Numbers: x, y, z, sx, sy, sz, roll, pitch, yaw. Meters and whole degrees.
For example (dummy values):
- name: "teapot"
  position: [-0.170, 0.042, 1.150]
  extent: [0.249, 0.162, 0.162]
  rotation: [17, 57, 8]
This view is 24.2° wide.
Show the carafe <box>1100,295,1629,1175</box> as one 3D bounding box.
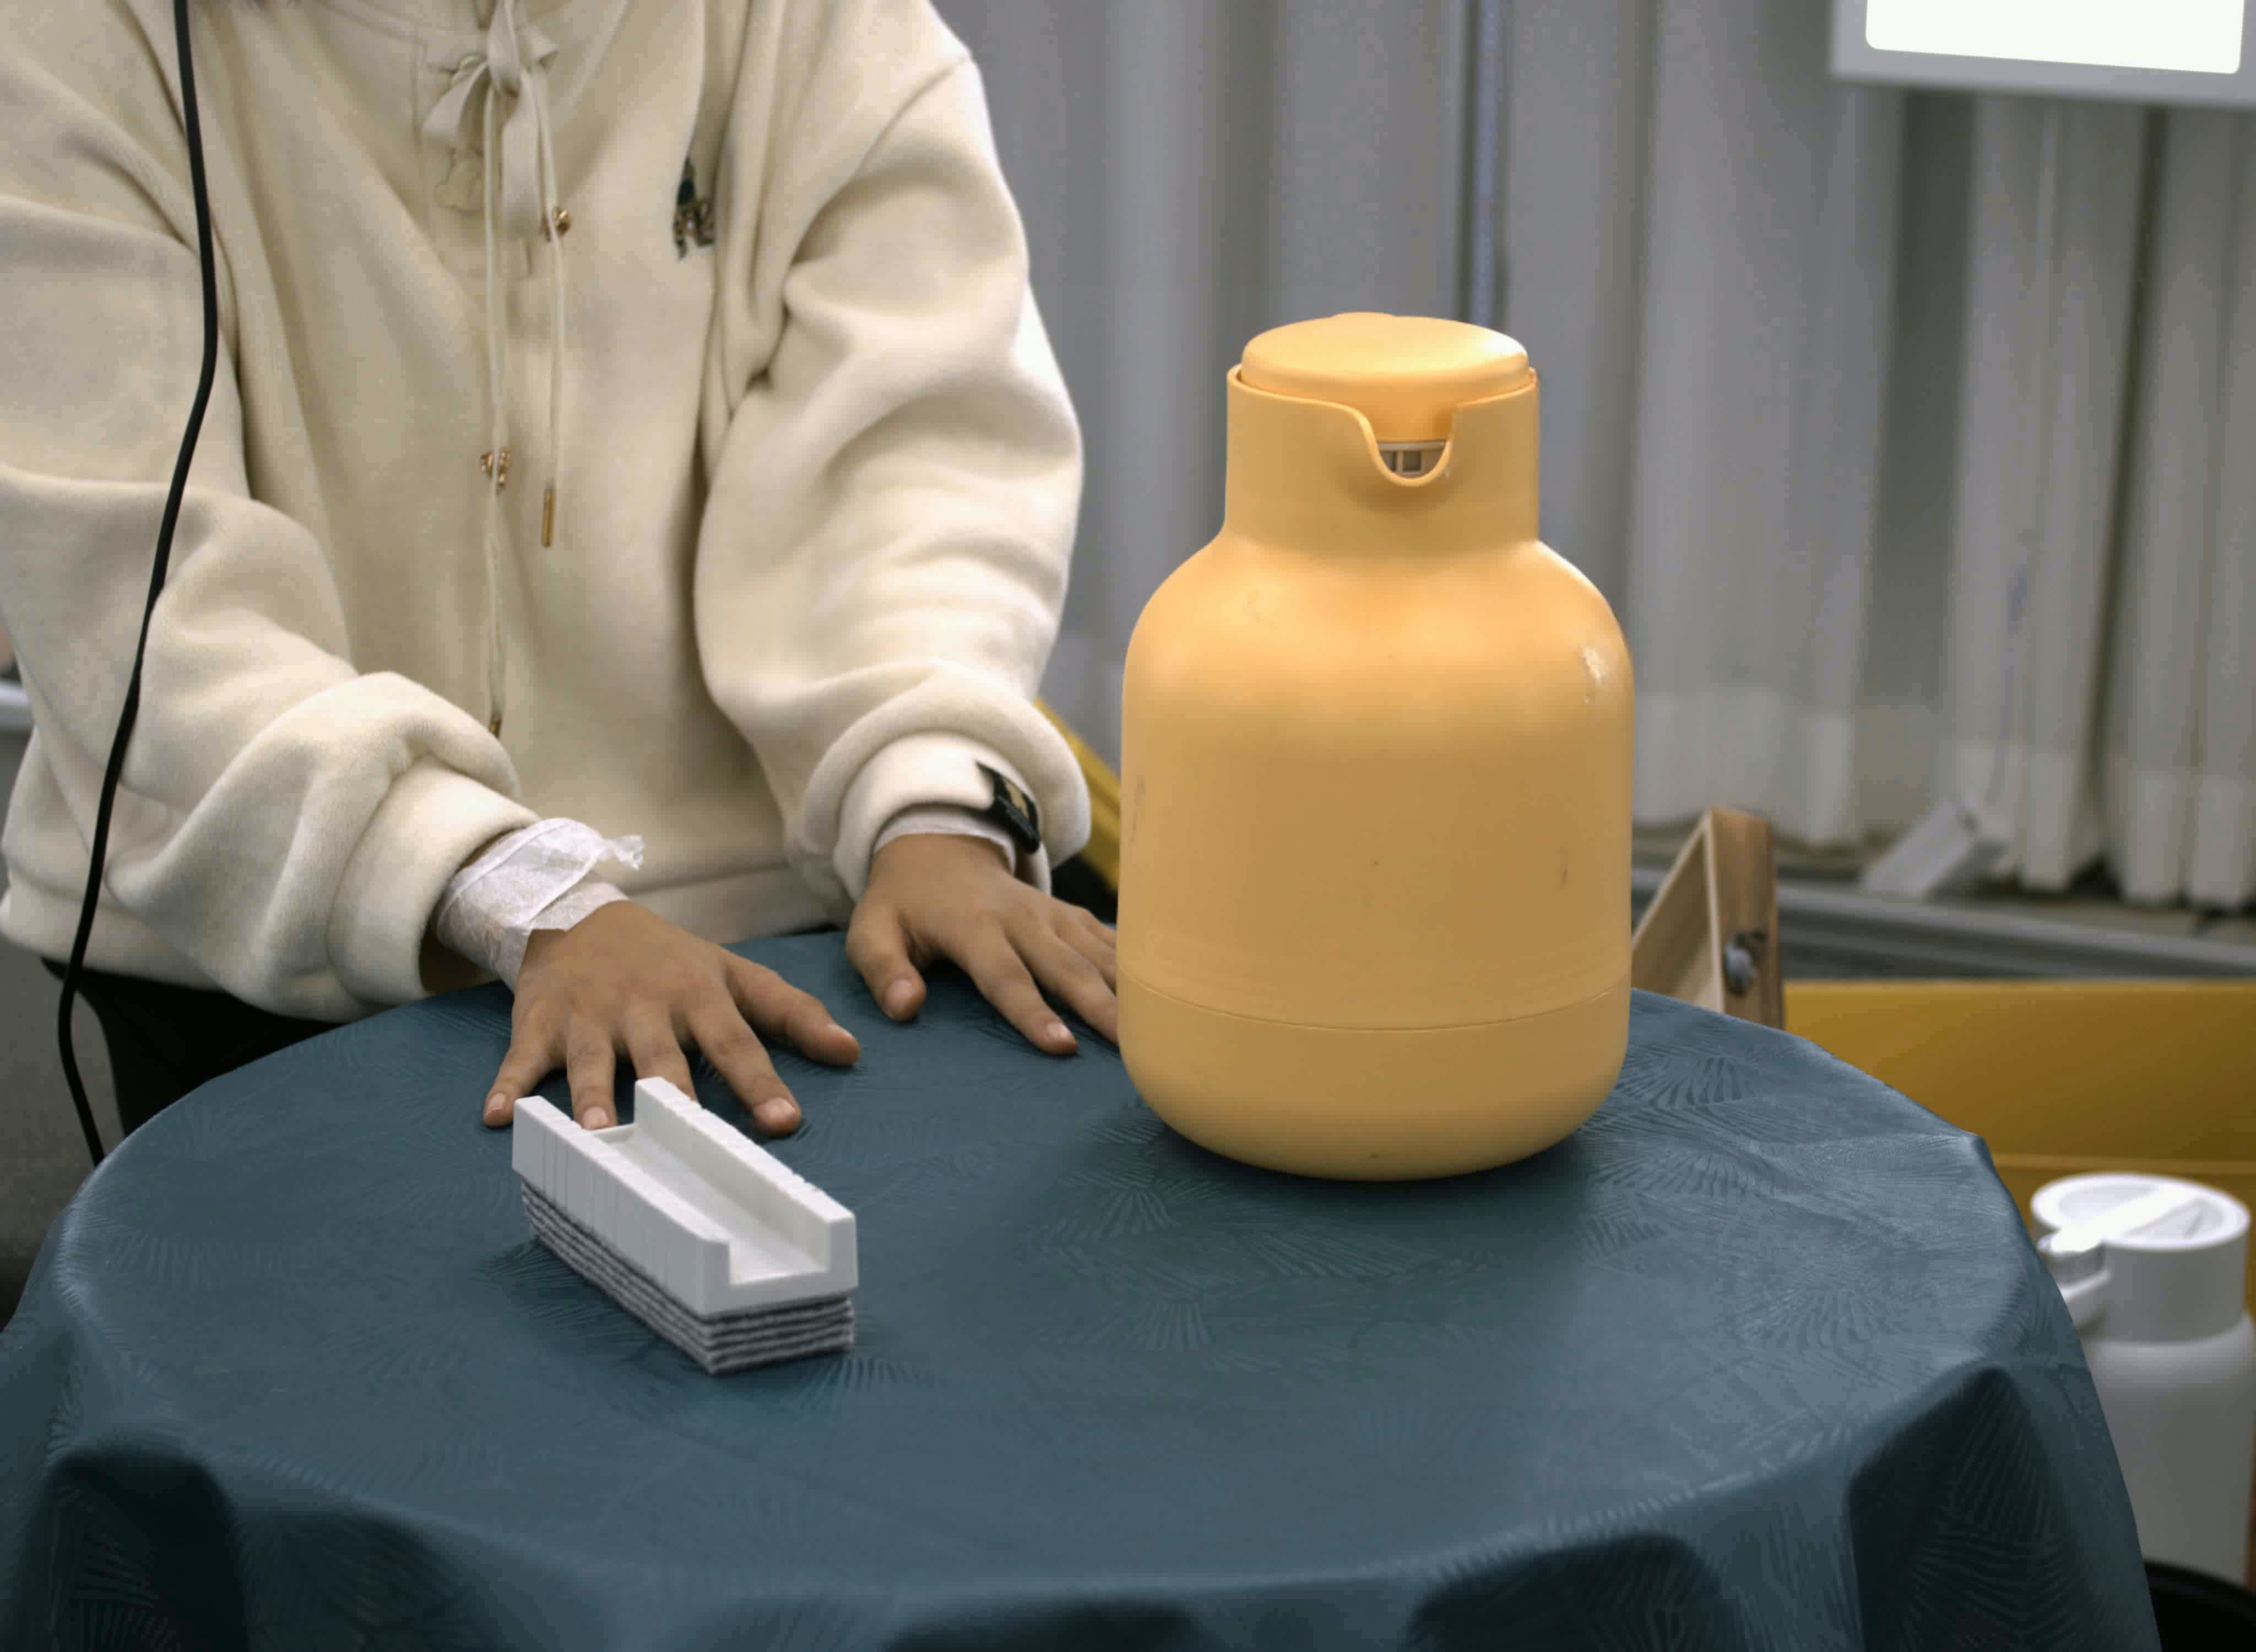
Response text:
- name: "carafe"
  position: [0.076, -0.037, 1.662]
  extent: [0.163, 0.262, 0.201]
  rotation: [3, 17, -3]

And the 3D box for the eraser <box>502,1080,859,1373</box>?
- name: "eraser"
  position: [-0.131, 0.114, 1.523]
  extent: [0.050, 0.047, 0.132]
  rotation: [-13, 21, -29]
